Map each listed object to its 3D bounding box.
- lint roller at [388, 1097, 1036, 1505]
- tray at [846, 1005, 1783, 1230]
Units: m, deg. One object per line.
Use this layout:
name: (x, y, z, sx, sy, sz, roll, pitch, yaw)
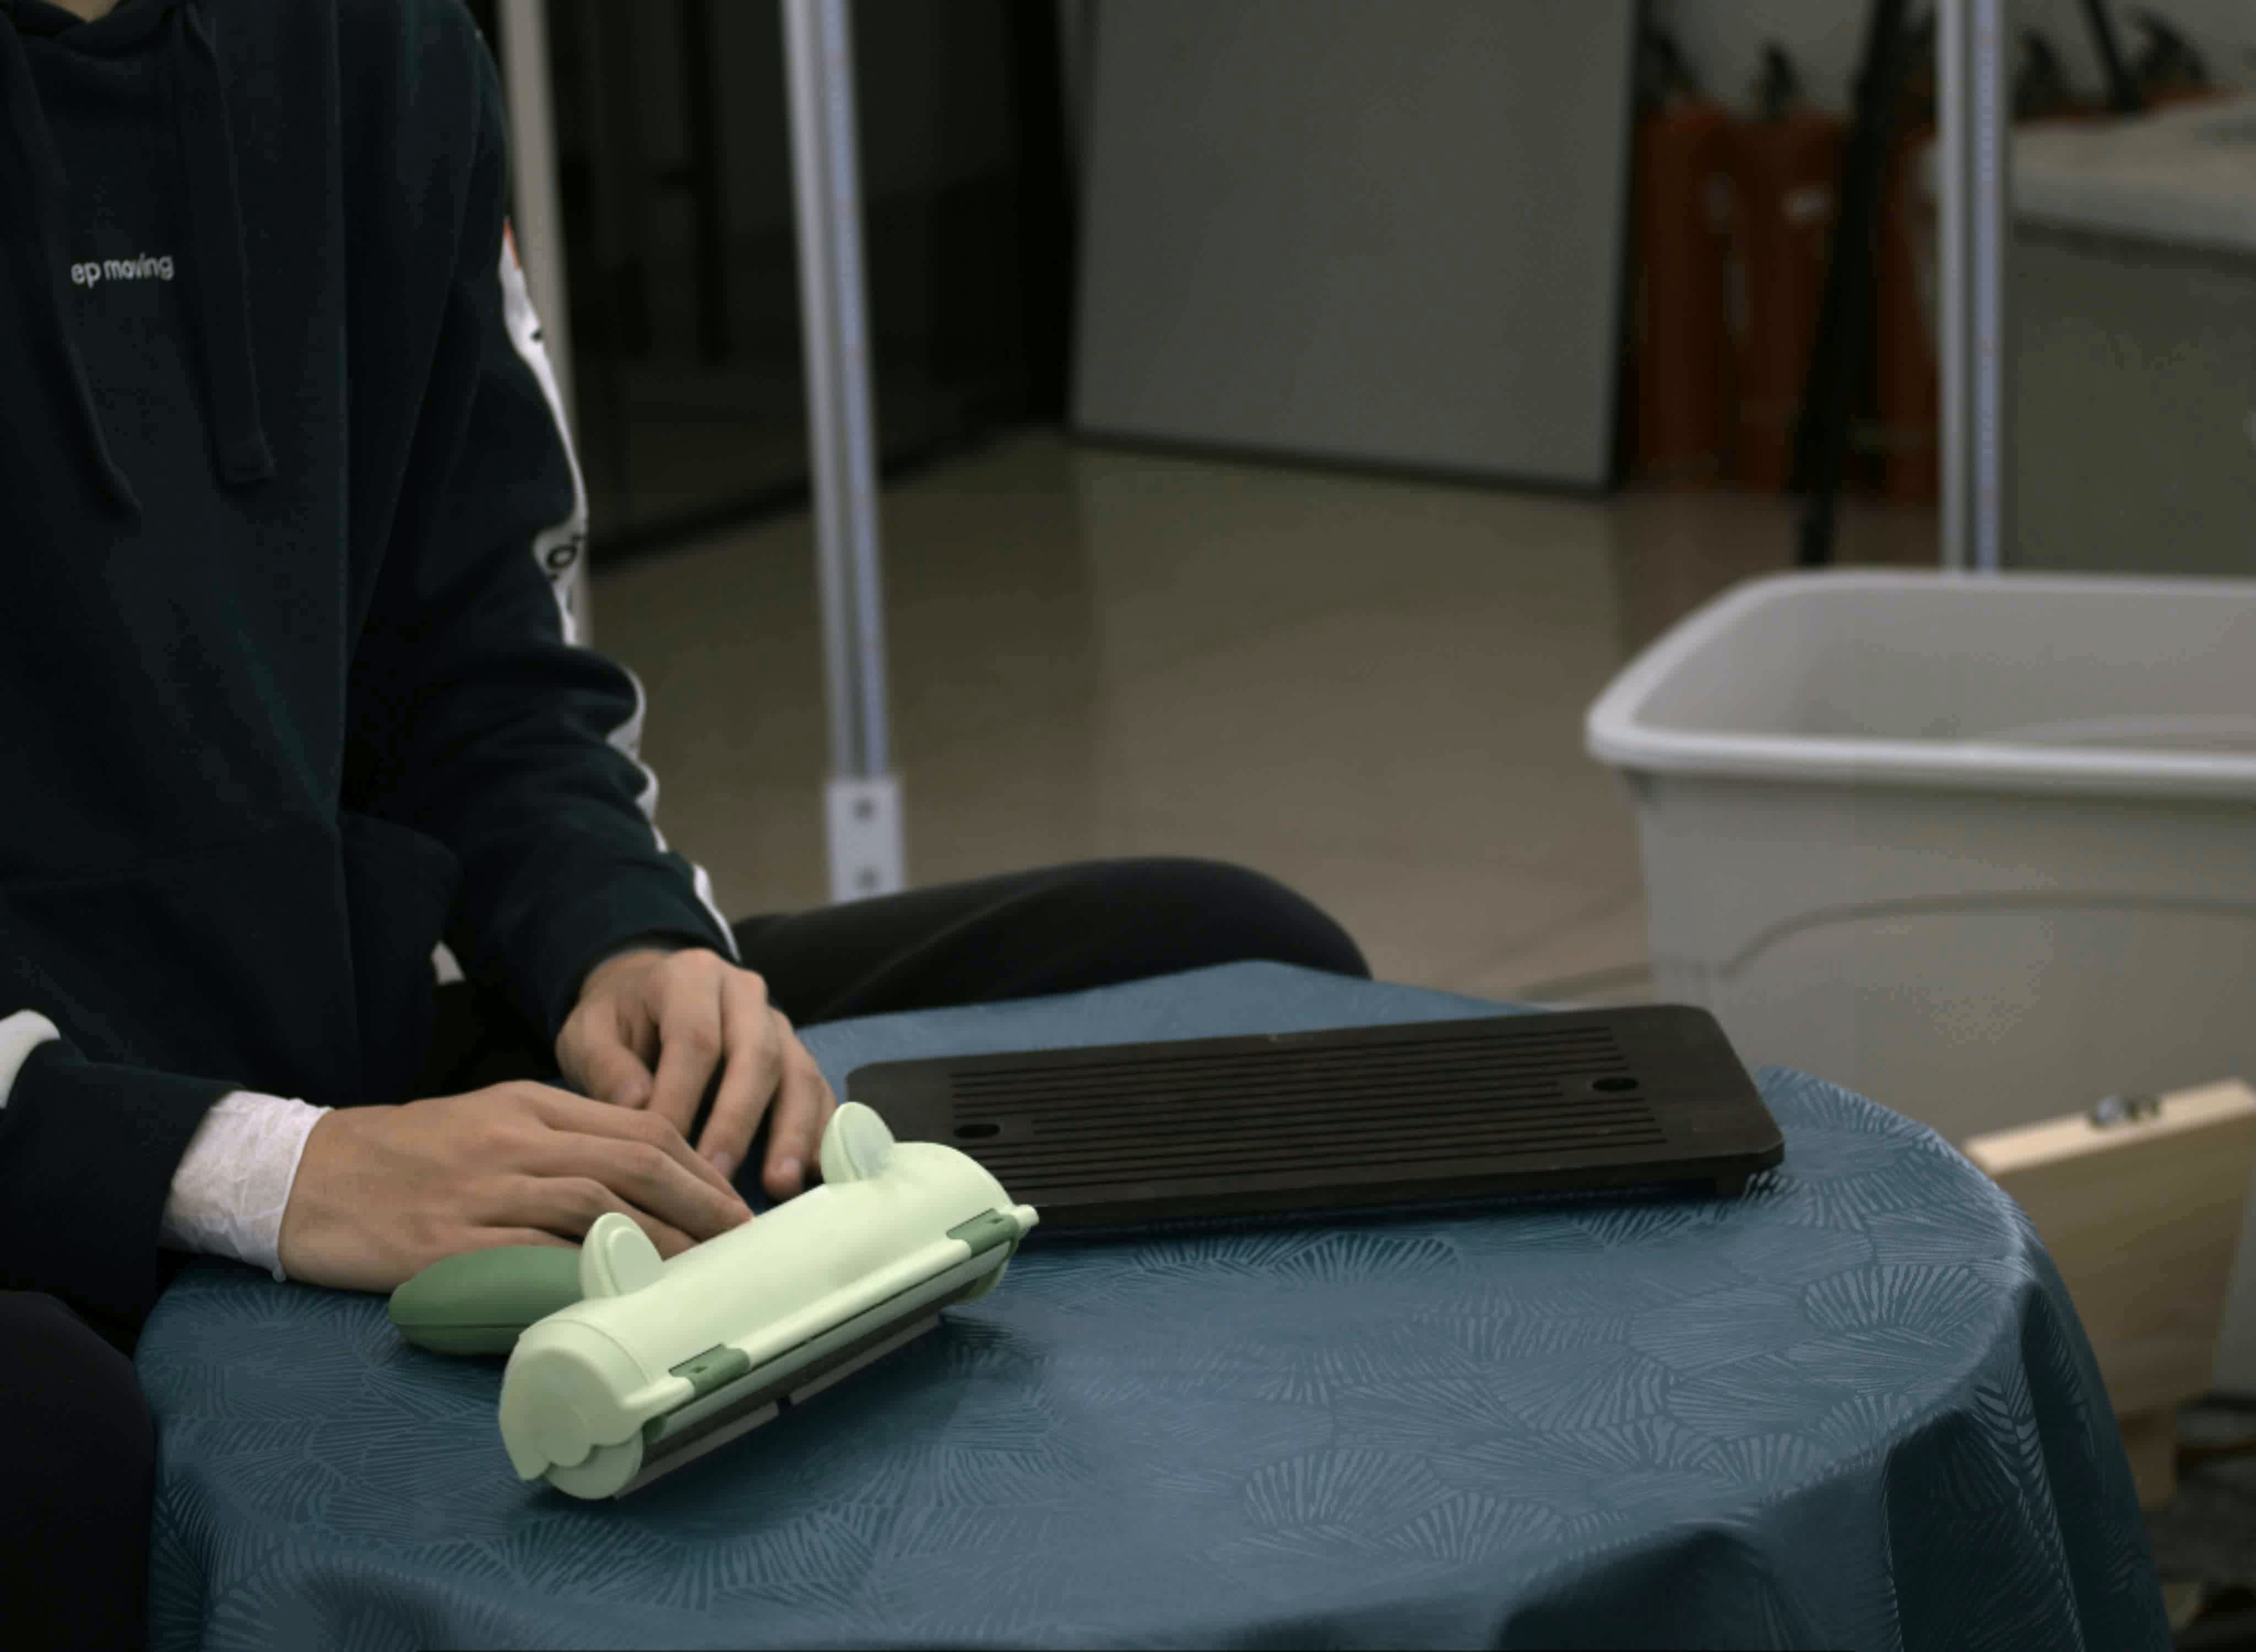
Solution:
lint roller: (-0.152, 0.129, 1.616, 0.184, 0.083, 0.195, 9, 19, 34)
tray: (0.057, 0.101, 1.798, 0.302, 0.019, 0.170, -5, 14, -1)
